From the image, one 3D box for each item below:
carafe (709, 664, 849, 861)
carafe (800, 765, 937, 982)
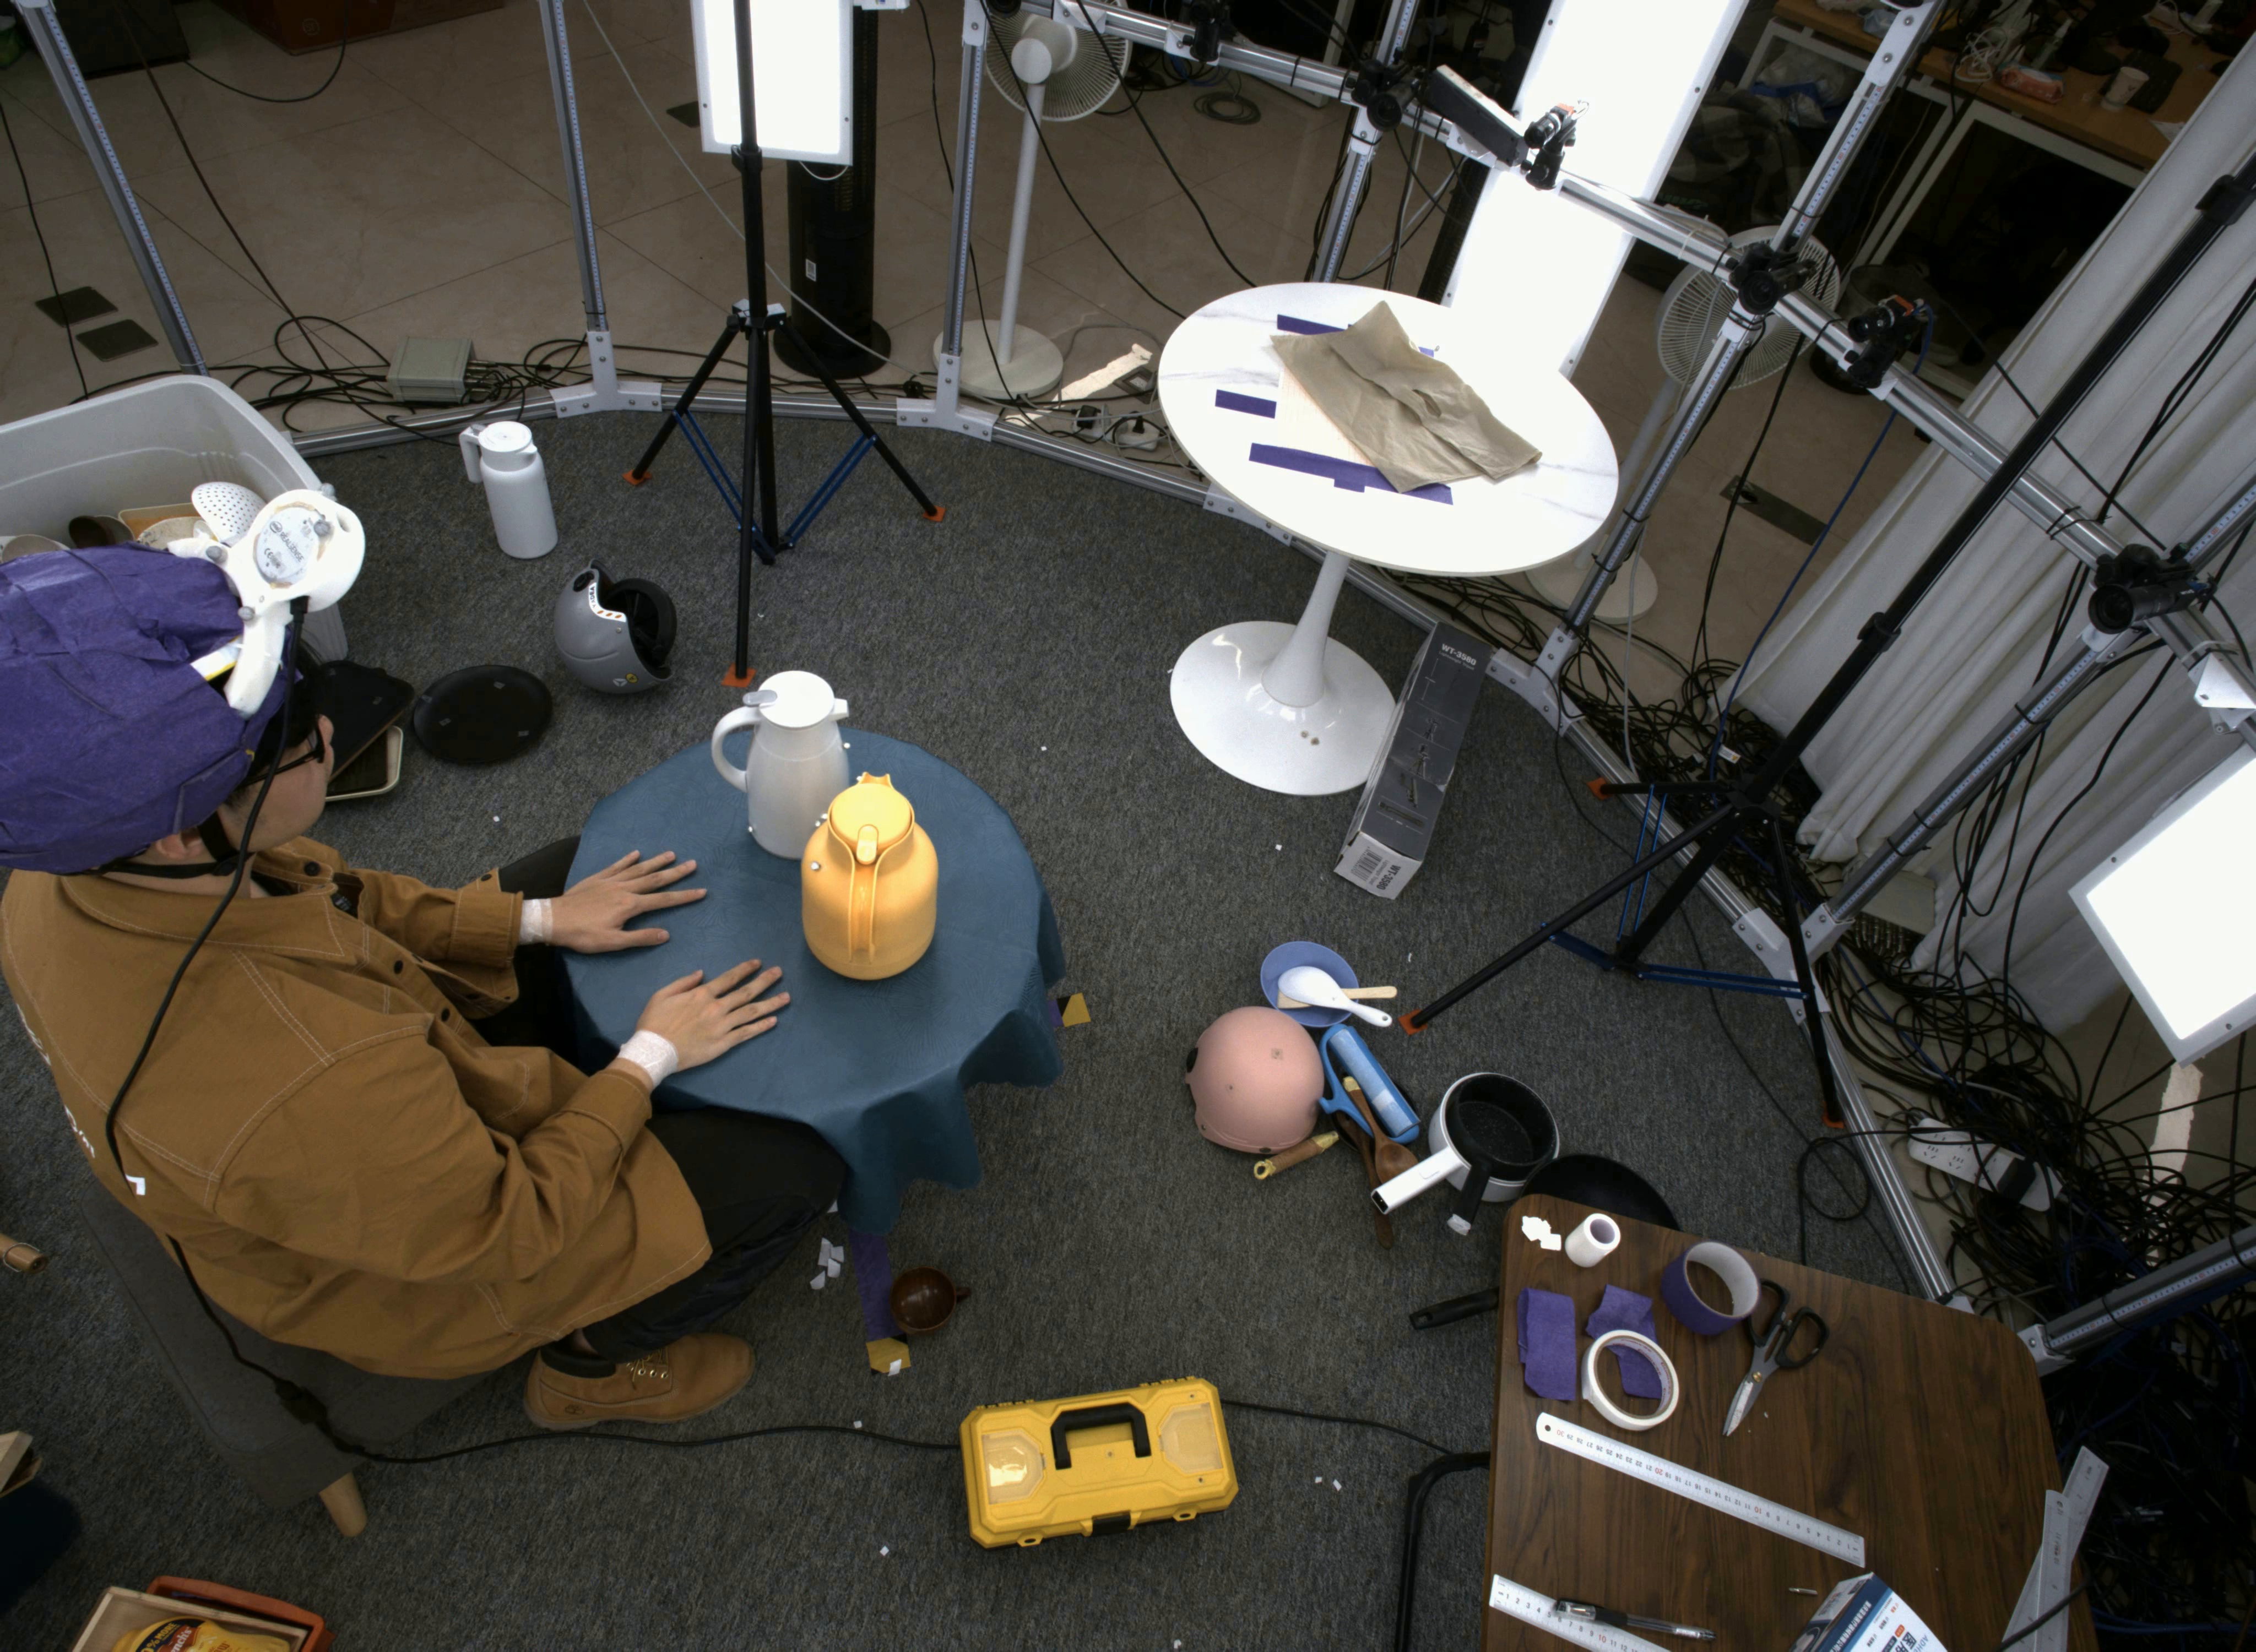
[{"bbox_3d":[-0.436,-0.084,1.620,0.168,0.254,0.129,-4,53,-14],"label":"carafe"},{"bbox_3d":[-0.309,0.070,1.531,0.163,0.267,0.198,4,50,-6],"label":"carafe"}]
